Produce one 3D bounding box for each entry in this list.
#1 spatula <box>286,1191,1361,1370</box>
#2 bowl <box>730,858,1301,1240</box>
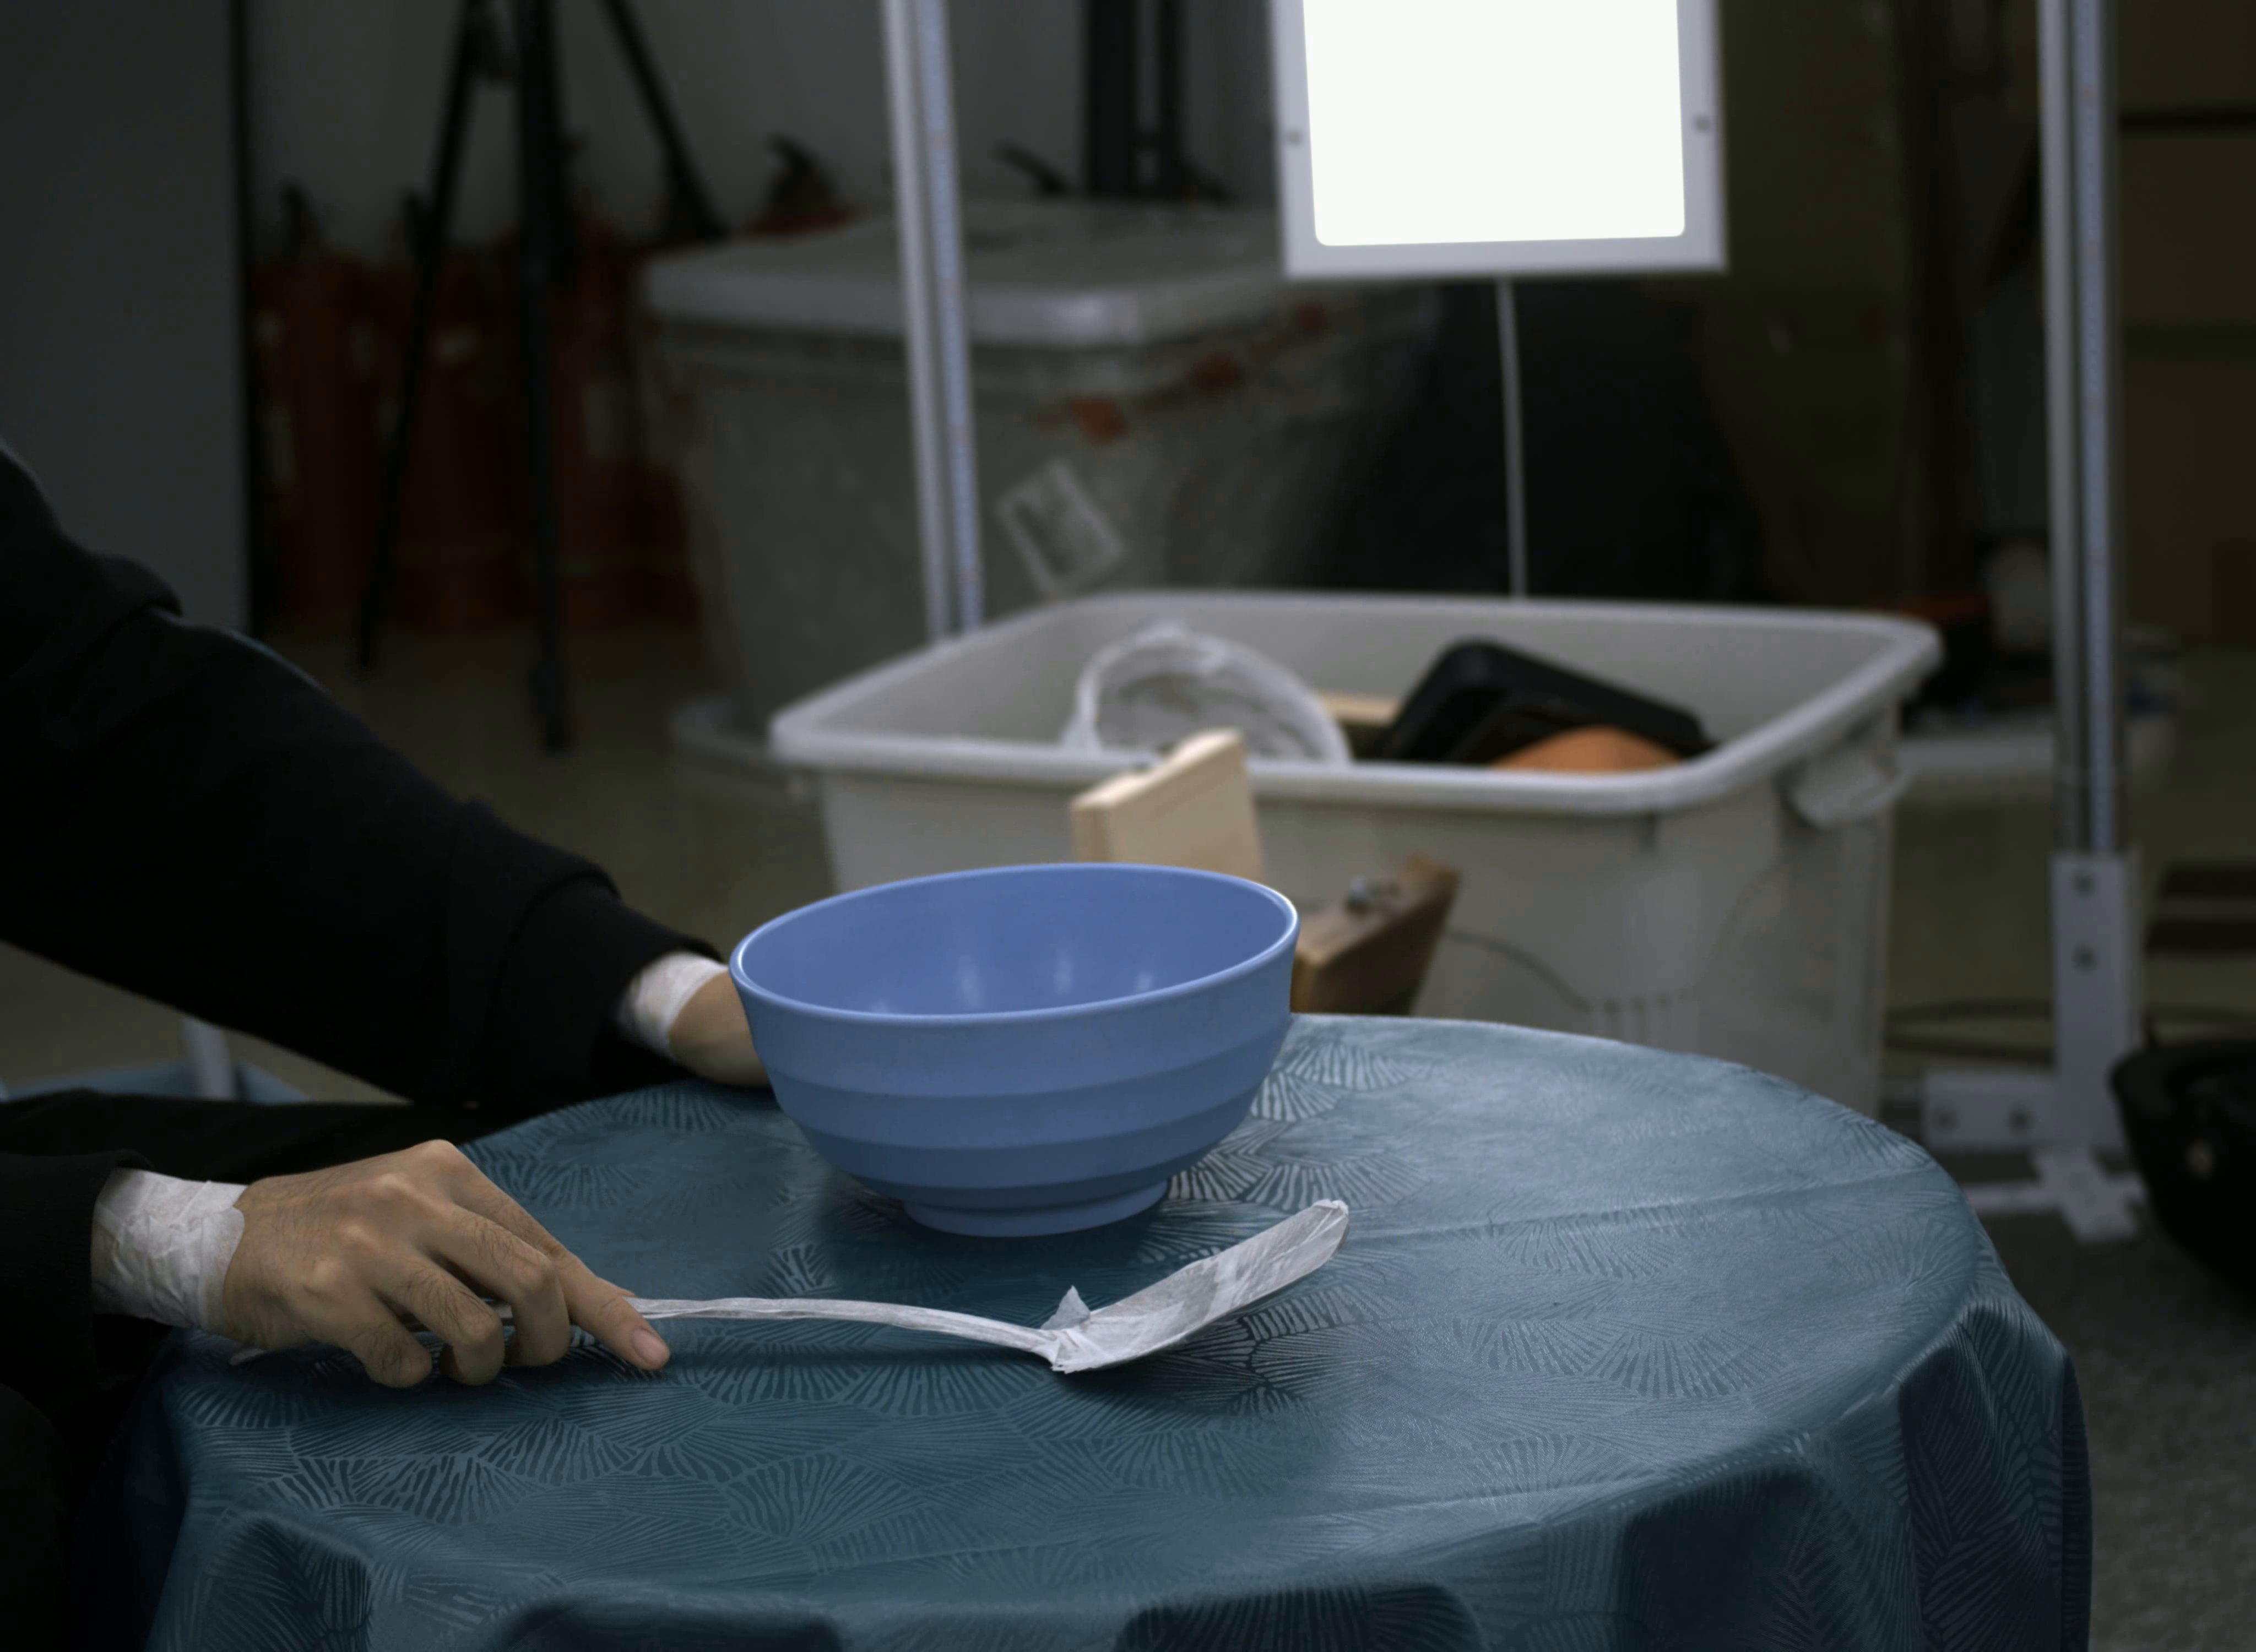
[{"bbox_3d":[-0.105,0.149,1.761,0.368,0.045,0.097,-1,14,16],"label":"spatula"},{"bbox_3d":[-0.035,0.083,1.892,0.196,0.096,0.196,-5,15,0],"label":"bowl"}]
